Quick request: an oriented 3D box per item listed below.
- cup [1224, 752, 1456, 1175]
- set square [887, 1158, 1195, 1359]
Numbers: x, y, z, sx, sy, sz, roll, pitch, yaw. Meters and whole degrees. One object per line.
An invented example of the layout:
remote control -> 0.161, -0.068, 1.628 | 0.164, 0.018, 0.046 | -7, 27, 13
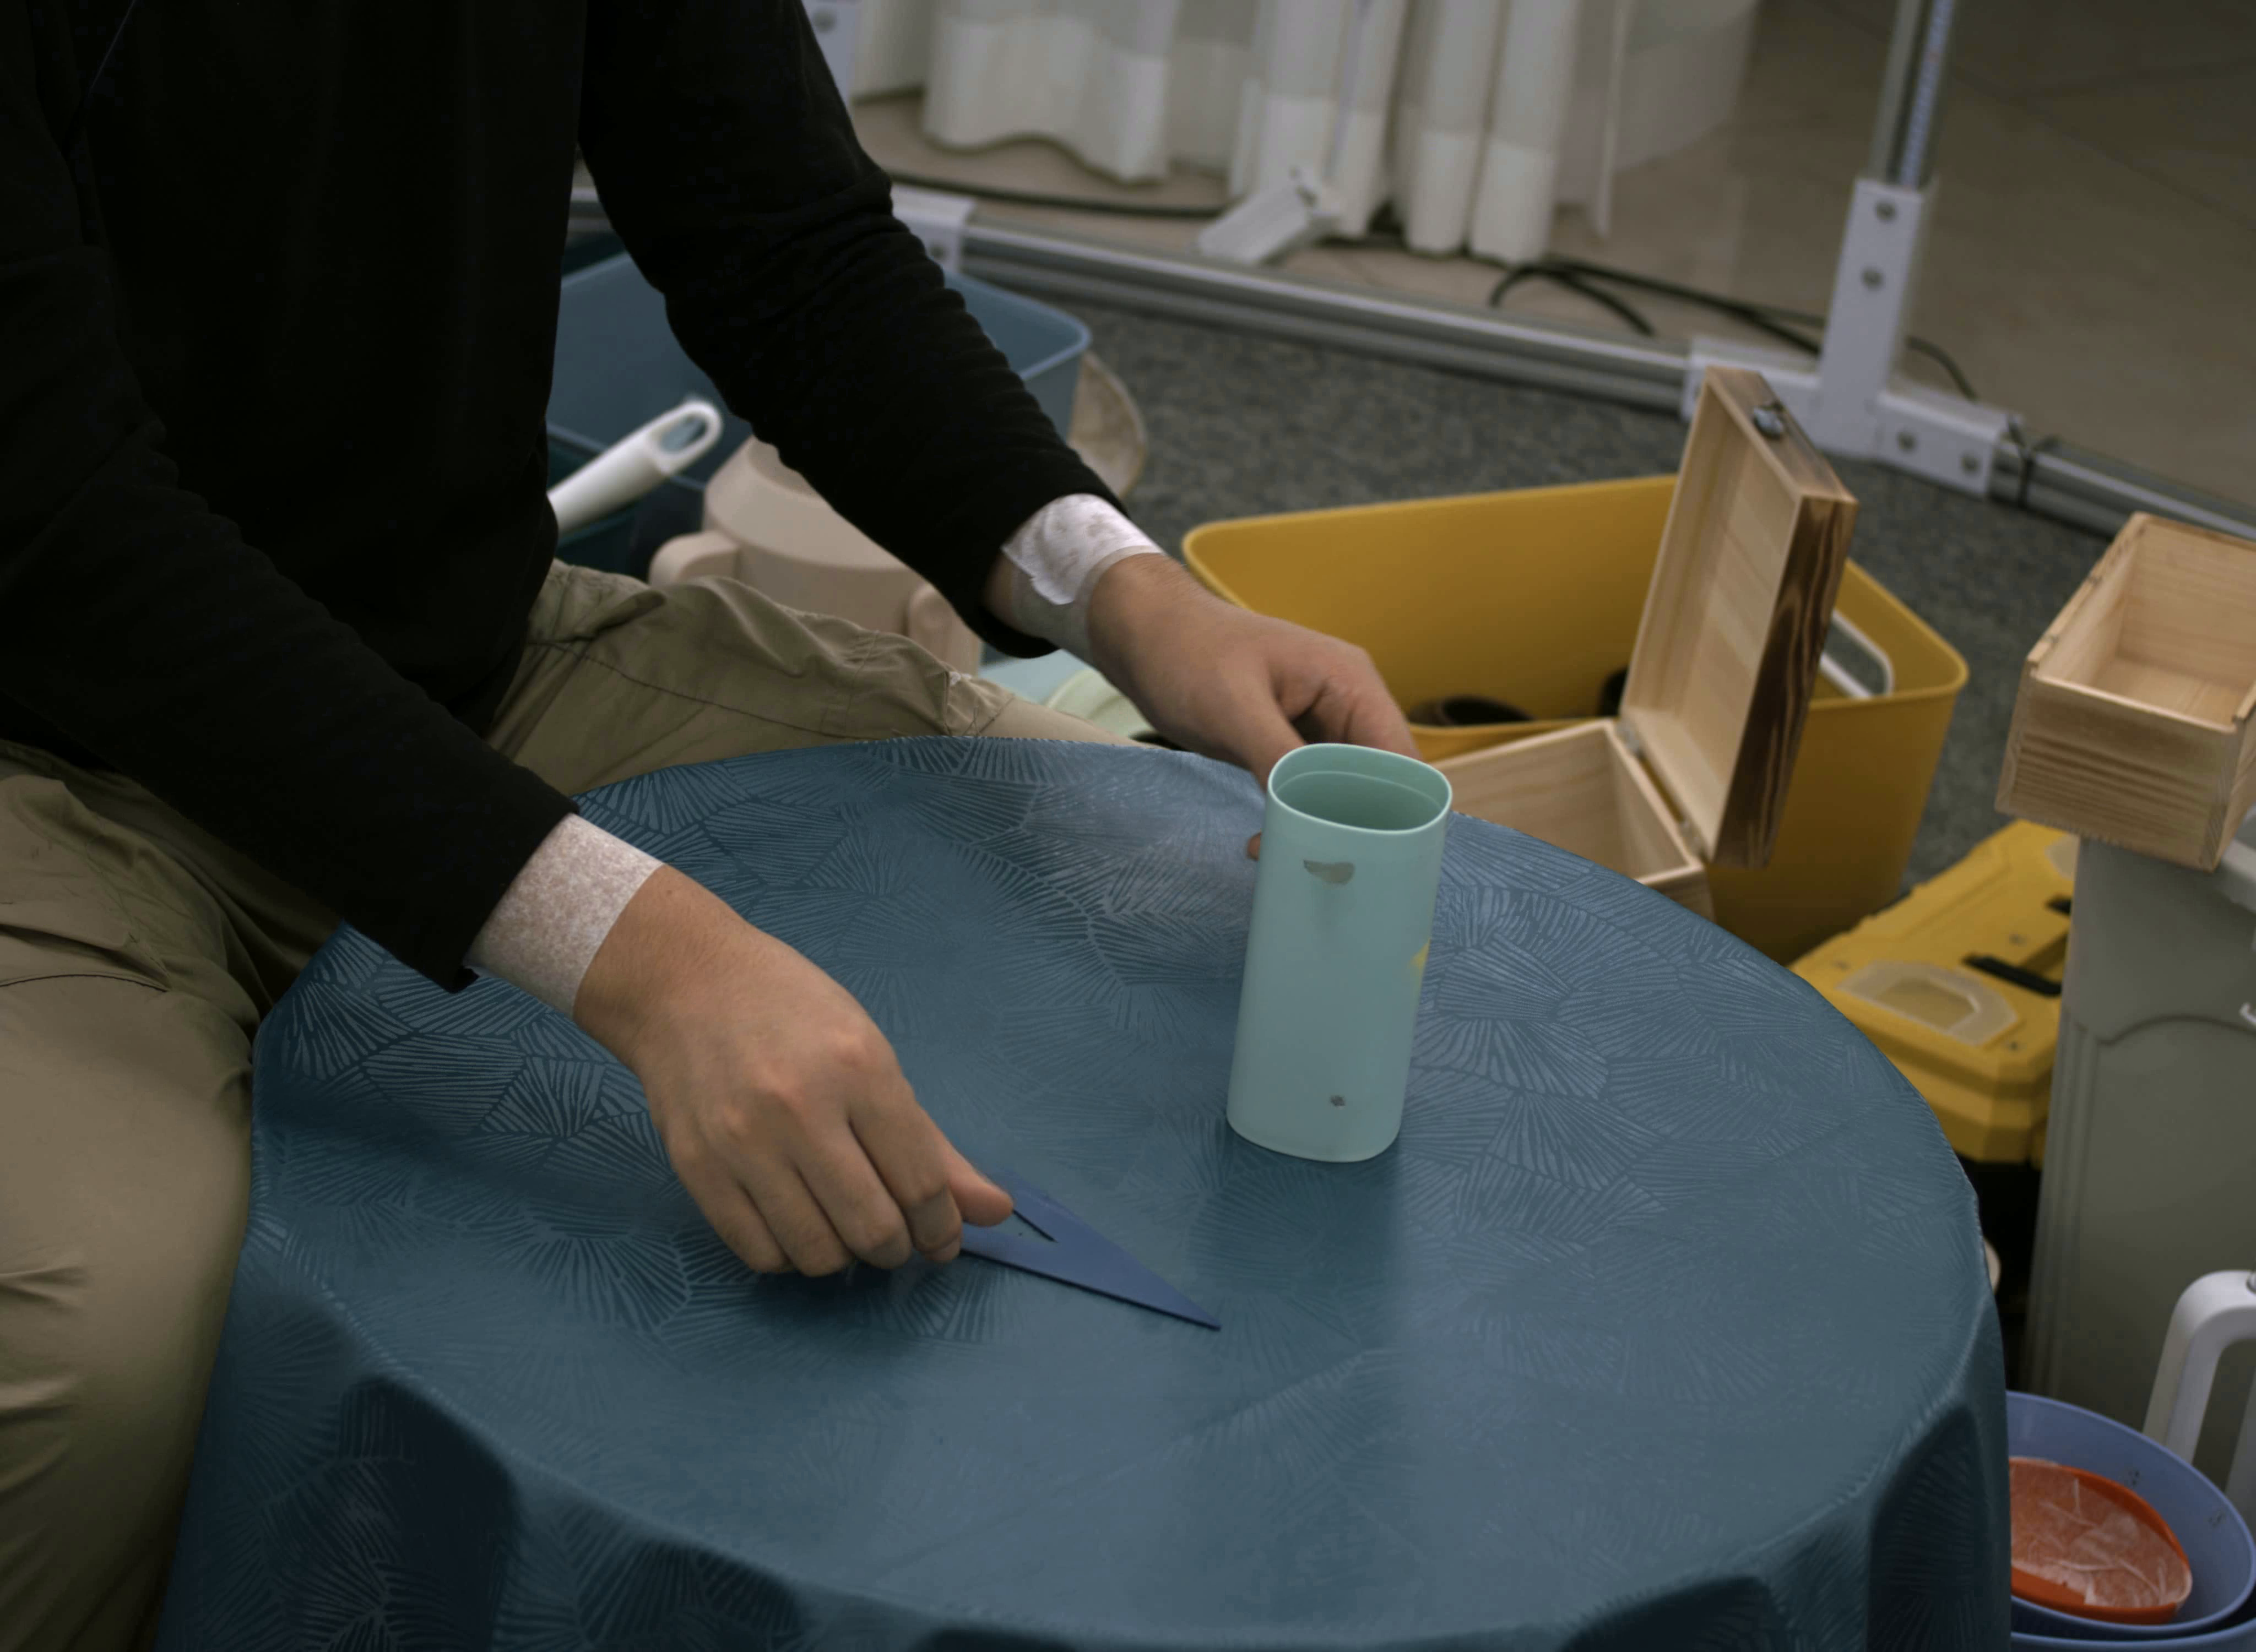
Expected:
cup -> 0.071, 0.047, 1.832 | 0.066, 0.132, 0.067 | 6, 27, -3
set square -> -0.035, 0.145, 1.747 | 0.061, 0.006, 0.133 | -11, 32, -33
